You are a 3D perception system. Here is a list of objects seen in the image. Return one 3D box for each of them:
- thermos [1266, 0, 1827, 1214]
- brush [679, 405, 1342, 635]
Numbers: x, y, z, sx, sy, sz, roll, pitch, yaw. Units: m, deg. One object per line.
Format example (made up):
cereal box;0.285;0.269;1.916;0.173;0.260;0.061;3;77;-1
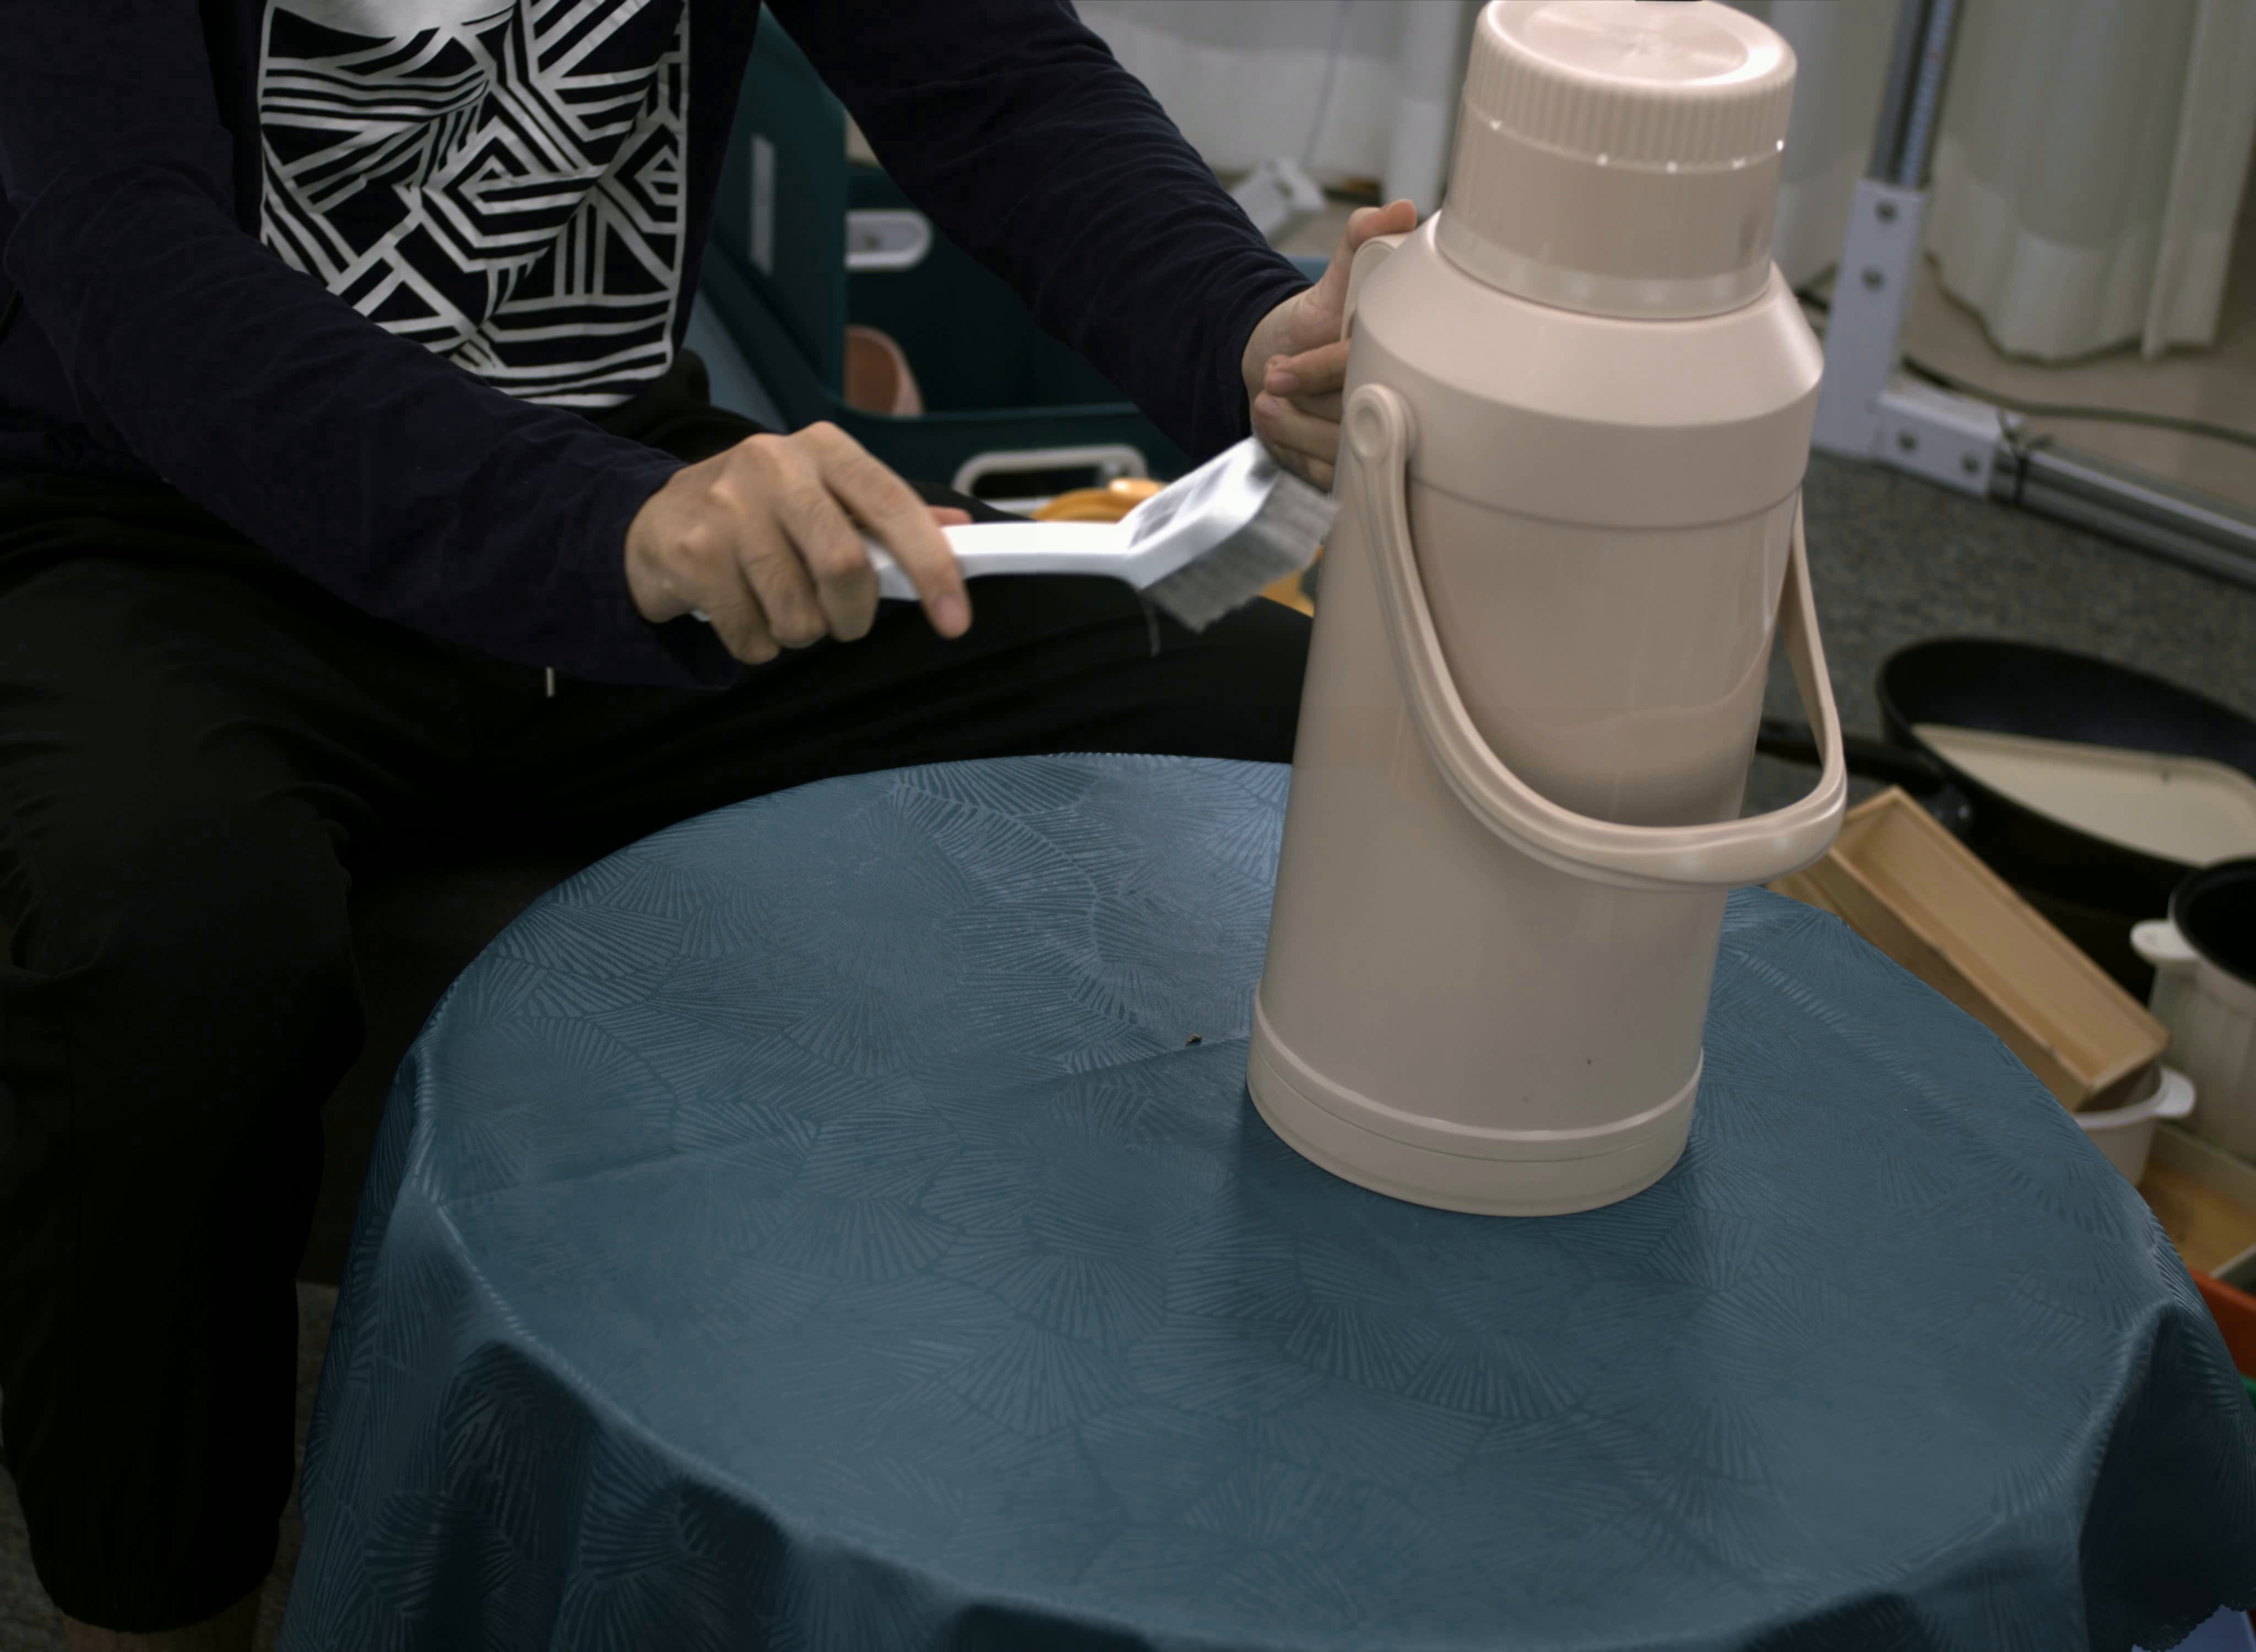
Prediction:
thermos;0.137;-0.085;1.809;0.174;0.405;0.209;-14;33;-32
brush;-0.039;-0.083;1.705;0.244;0.050;0.034;-14;42;33
